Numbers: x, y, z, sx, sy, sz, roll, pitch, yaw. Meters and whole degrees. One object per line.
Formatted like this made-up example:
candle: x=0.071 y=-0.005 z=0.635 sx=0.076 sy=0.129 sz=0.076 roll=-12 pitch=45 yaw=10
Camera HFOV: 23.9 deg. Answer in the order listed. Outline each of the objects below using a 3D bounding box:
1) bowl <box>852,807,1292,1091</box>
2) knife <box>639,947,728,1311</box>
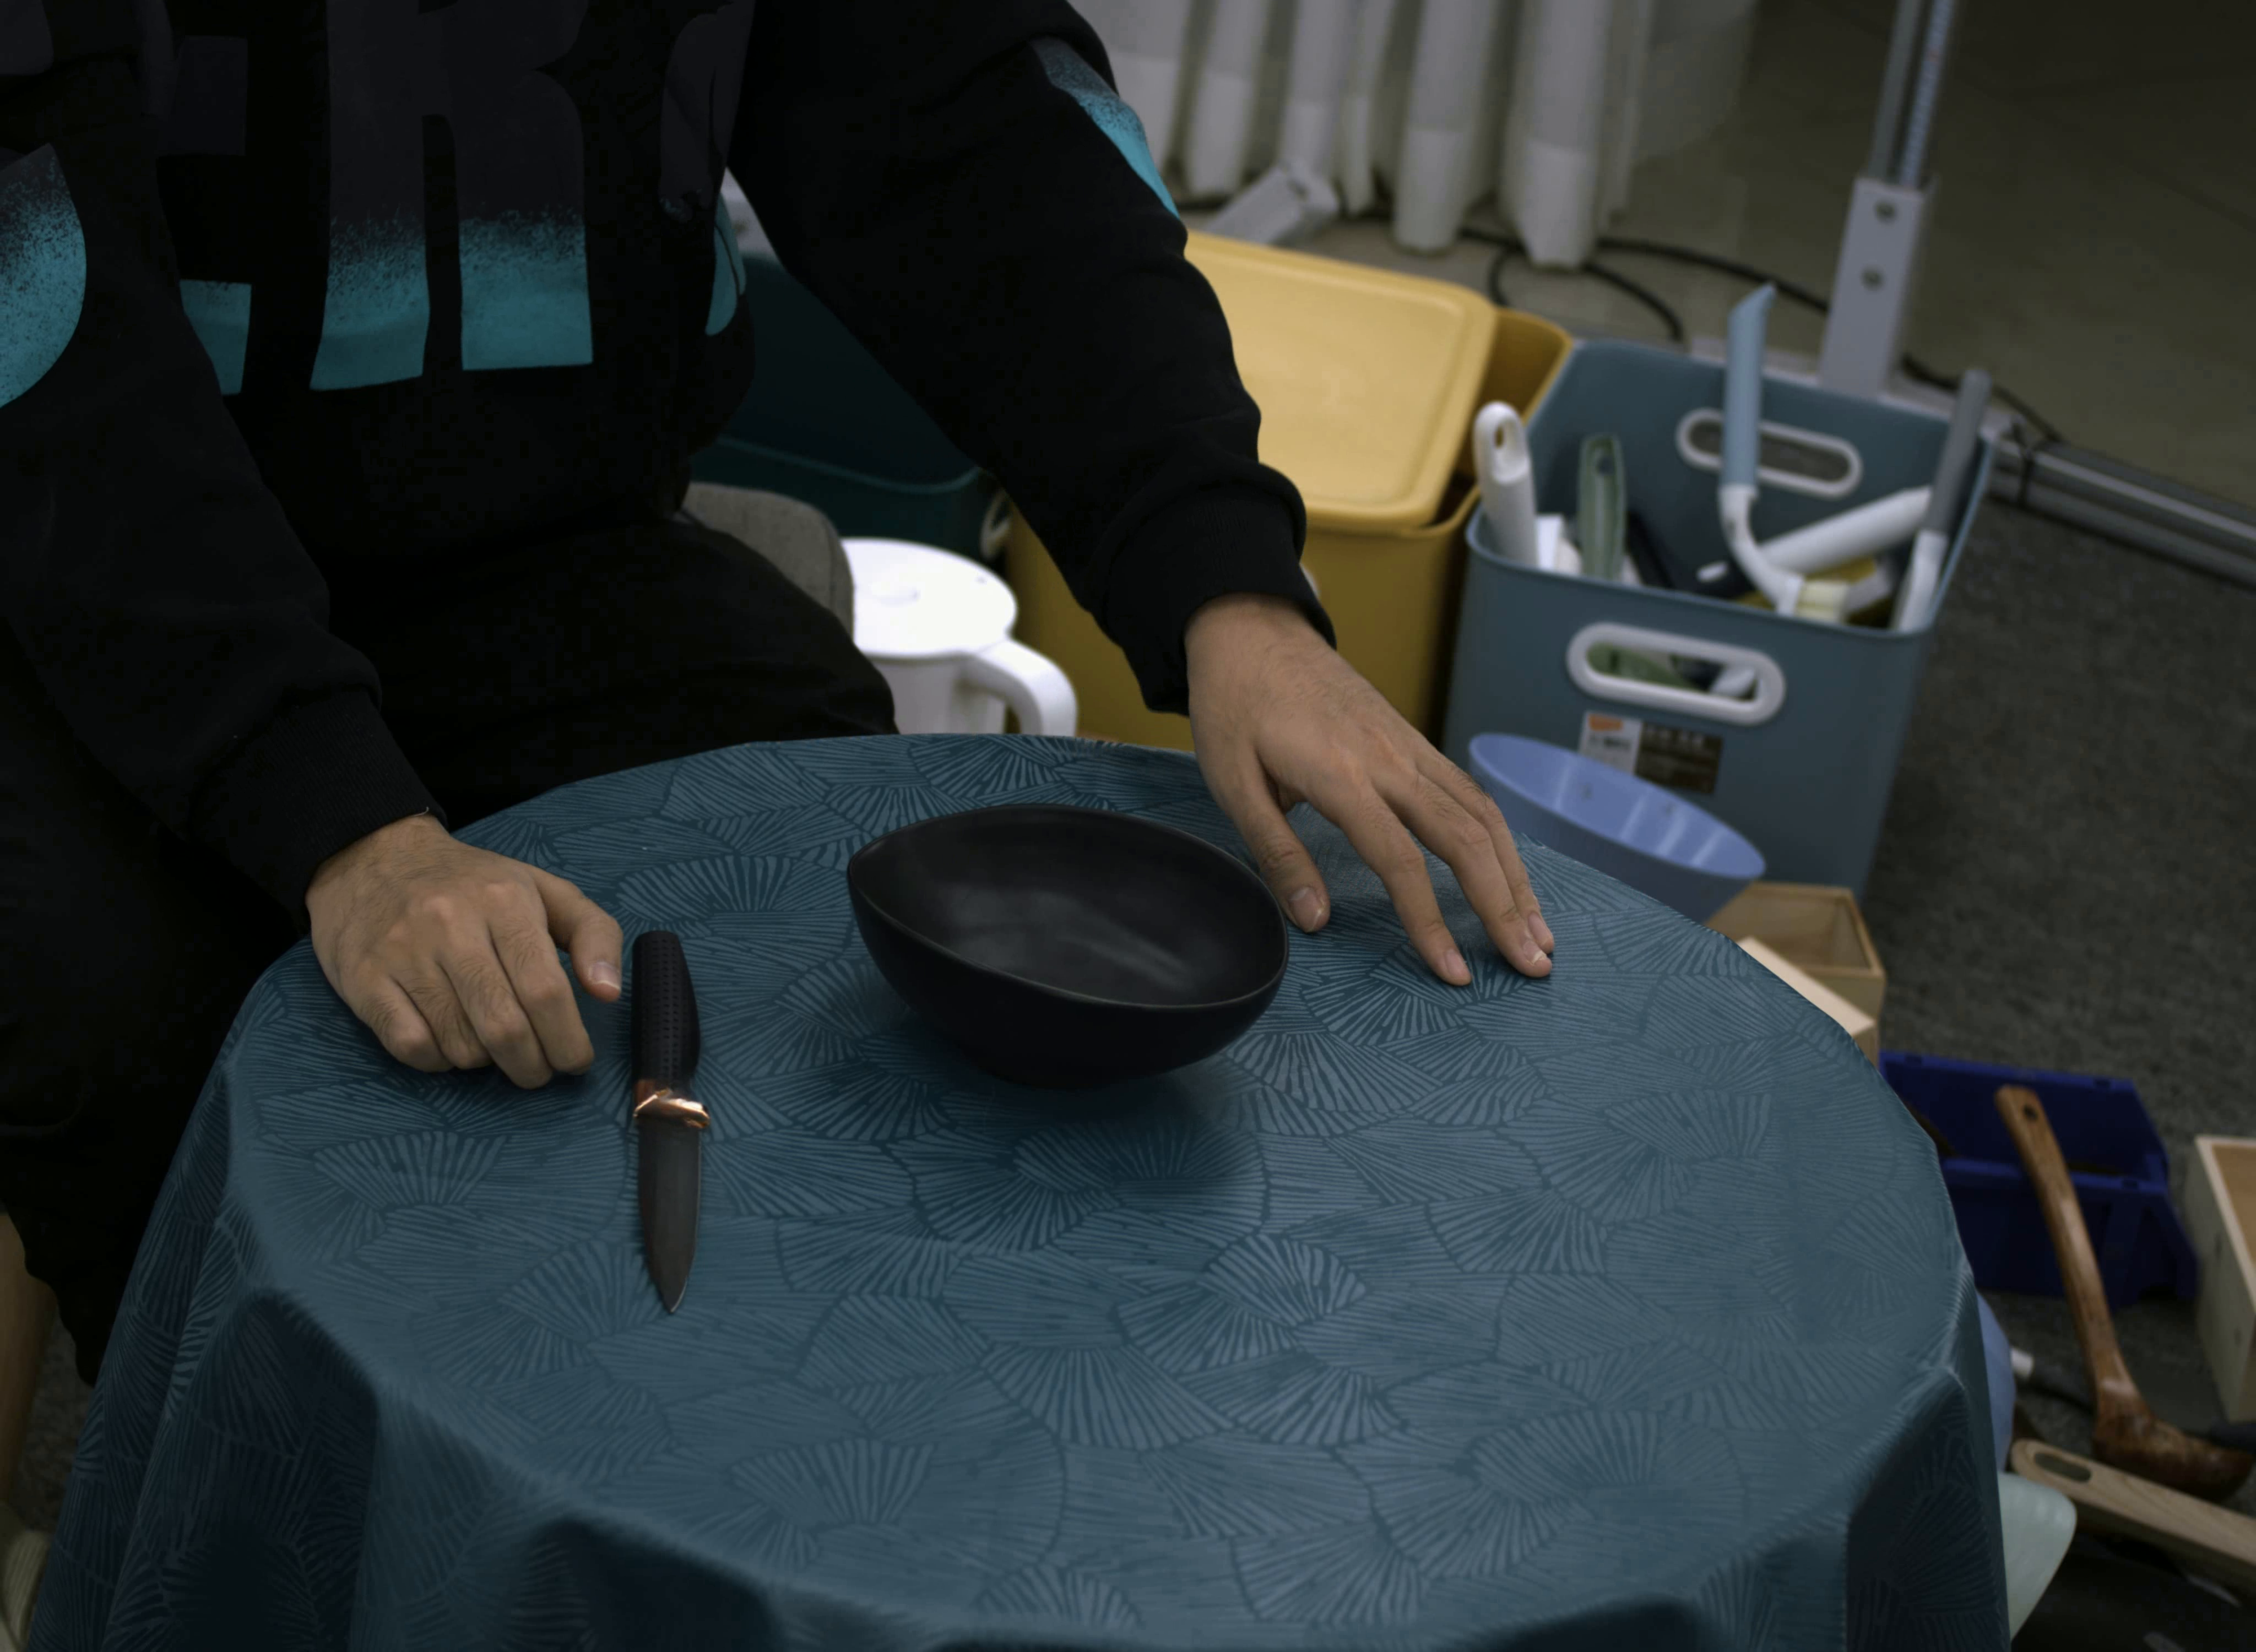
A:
bowl: x=-0.024 y=0.050 z=1.870 sx=0.171 sy=0.066 sz=0.137 roll=22 pitch=30 yaw=32
knife: x=-0.151 y=0.101 z=1.801 sx=0.026 sy=0.017 sz=0.227 roll=-2 pitch=29 yaw=-6
